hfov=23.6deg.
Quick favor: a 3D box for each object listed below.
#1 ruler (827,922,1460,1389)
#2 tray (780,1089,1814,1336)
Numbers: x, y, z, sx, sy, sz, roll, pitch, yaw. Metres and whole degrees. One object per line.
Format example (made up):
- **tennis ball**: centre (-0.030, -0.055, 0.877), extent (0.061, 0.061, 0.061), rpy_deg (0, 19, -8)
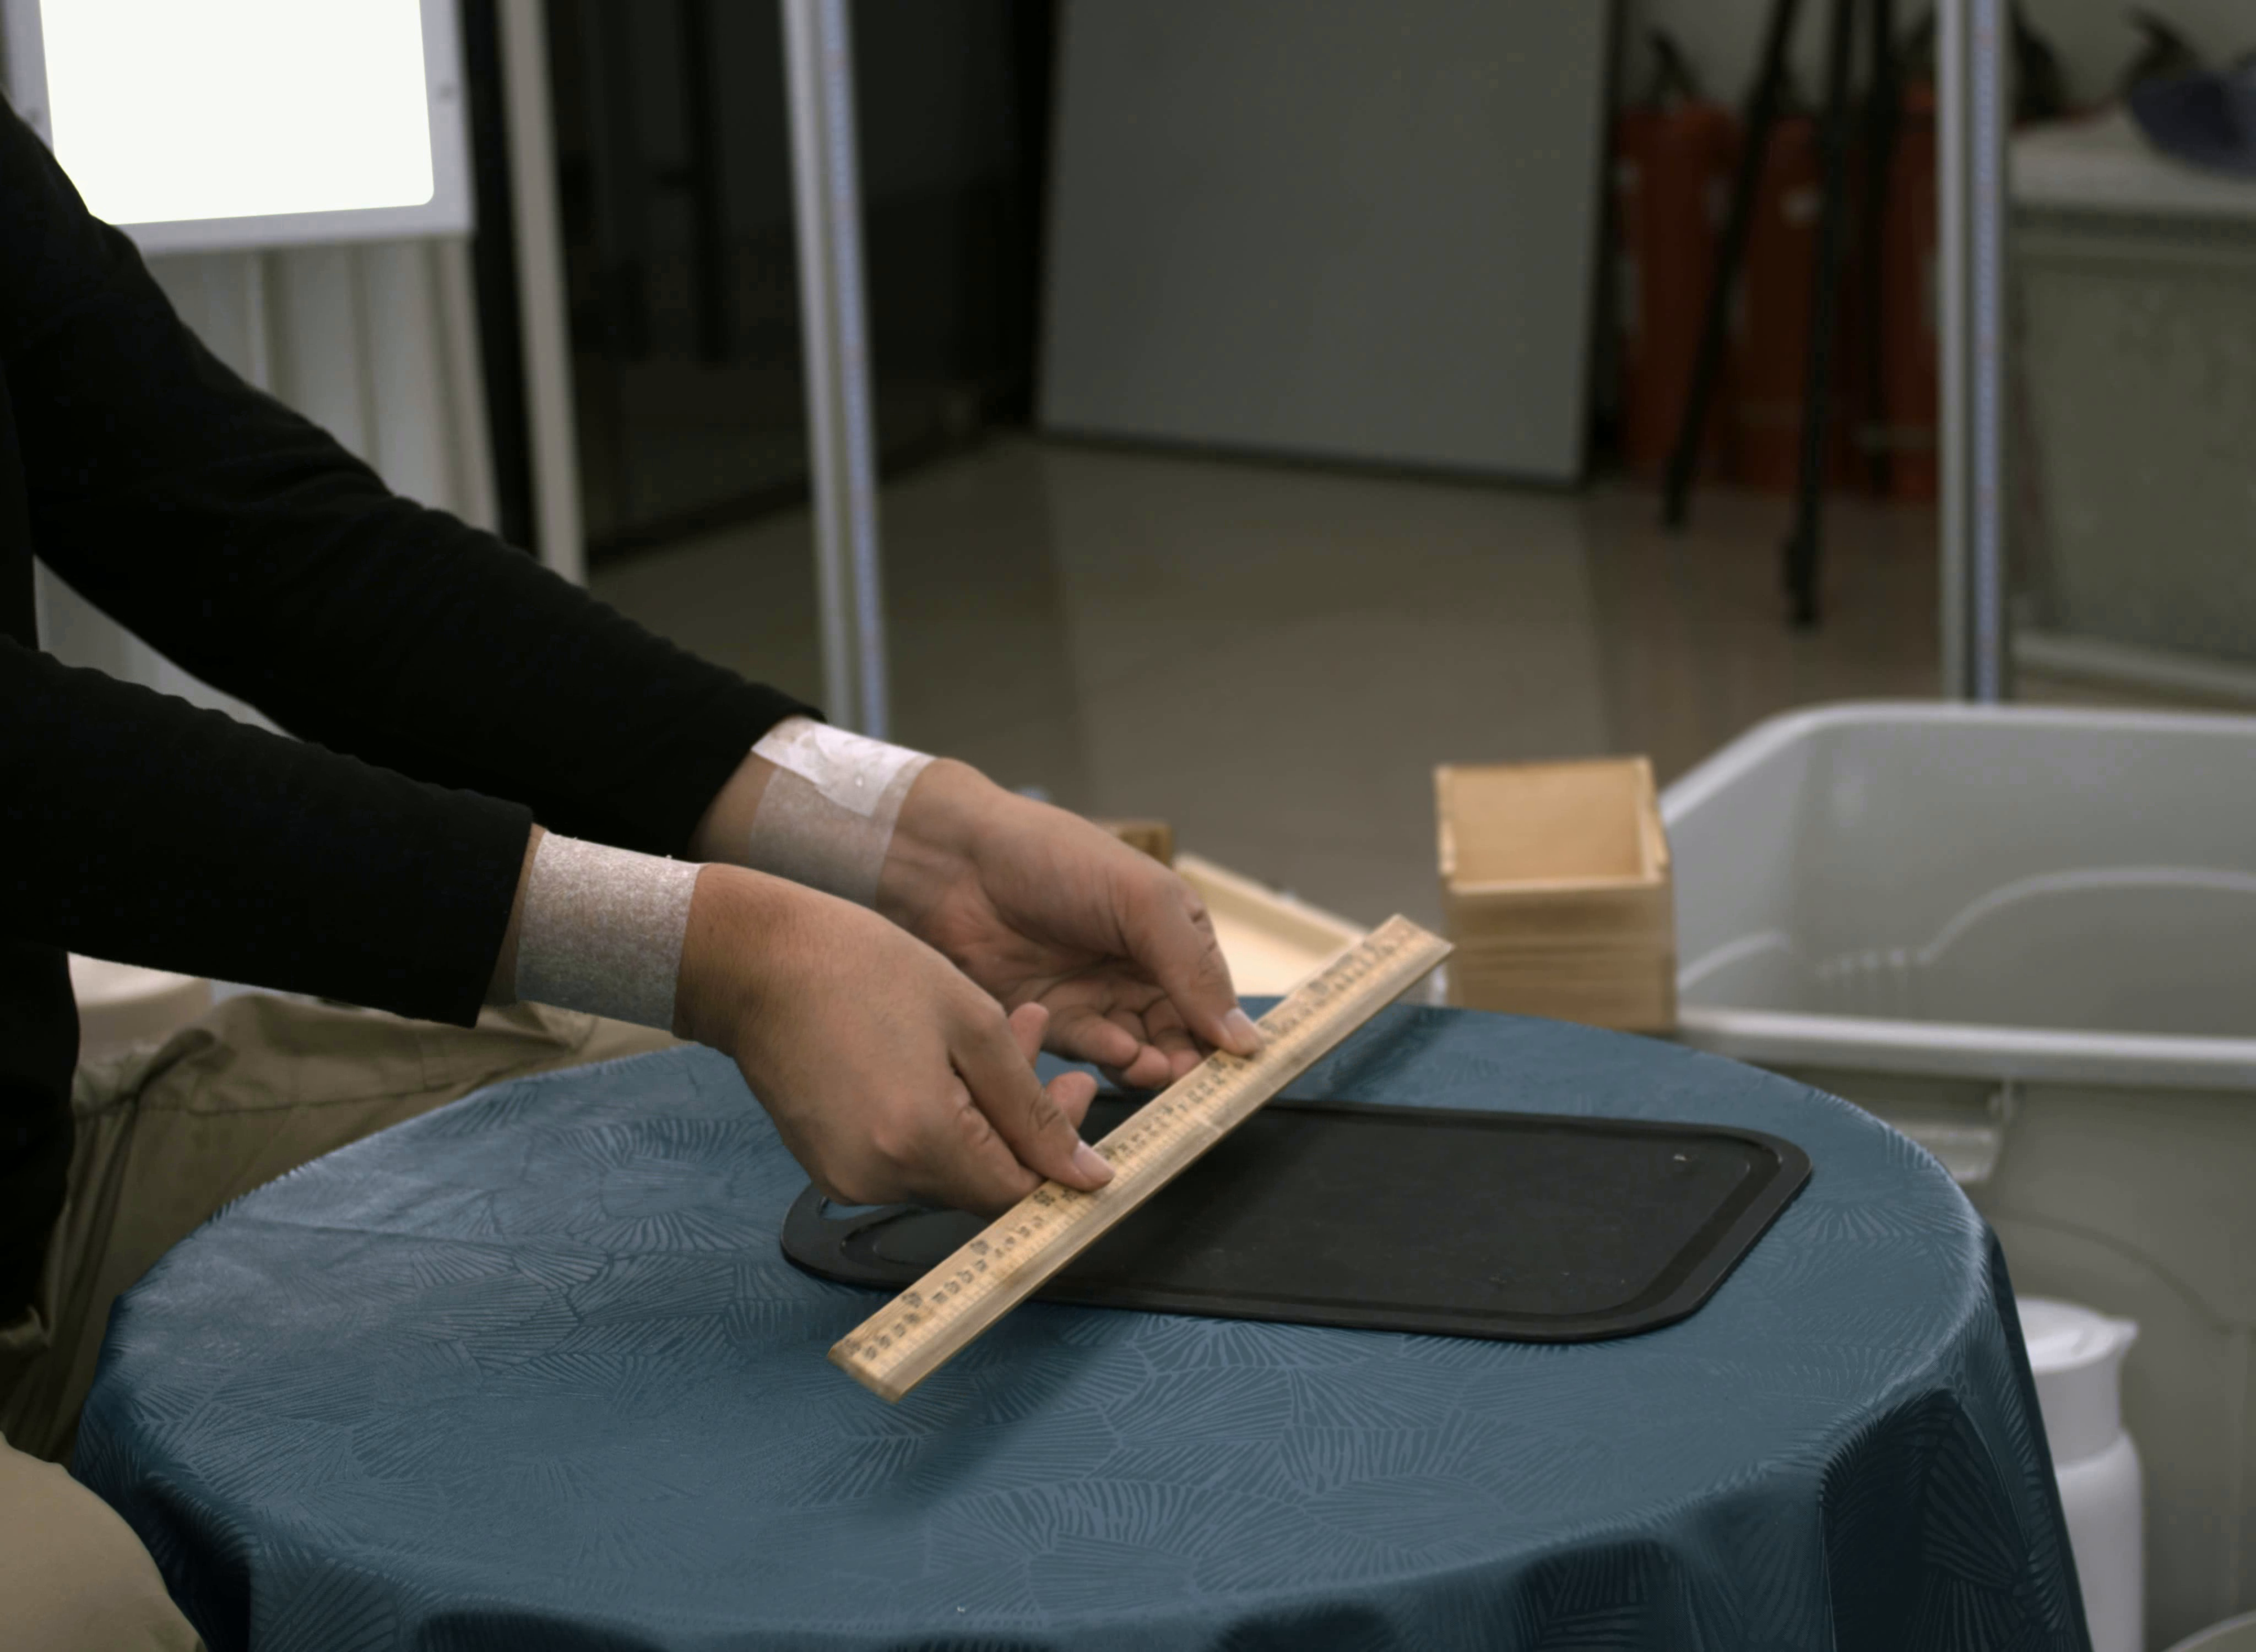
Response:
- **ruler**: centre (0.017, 0.096, 1.739), extent (0.027, 0.006, 0.494), rpy_deg (32, 23, 13)
- **tray**: centre (0.048, 0.120, 1.741), extent (0.326, 0.010, 0.208), rpy_deg (2, 15, 24)
